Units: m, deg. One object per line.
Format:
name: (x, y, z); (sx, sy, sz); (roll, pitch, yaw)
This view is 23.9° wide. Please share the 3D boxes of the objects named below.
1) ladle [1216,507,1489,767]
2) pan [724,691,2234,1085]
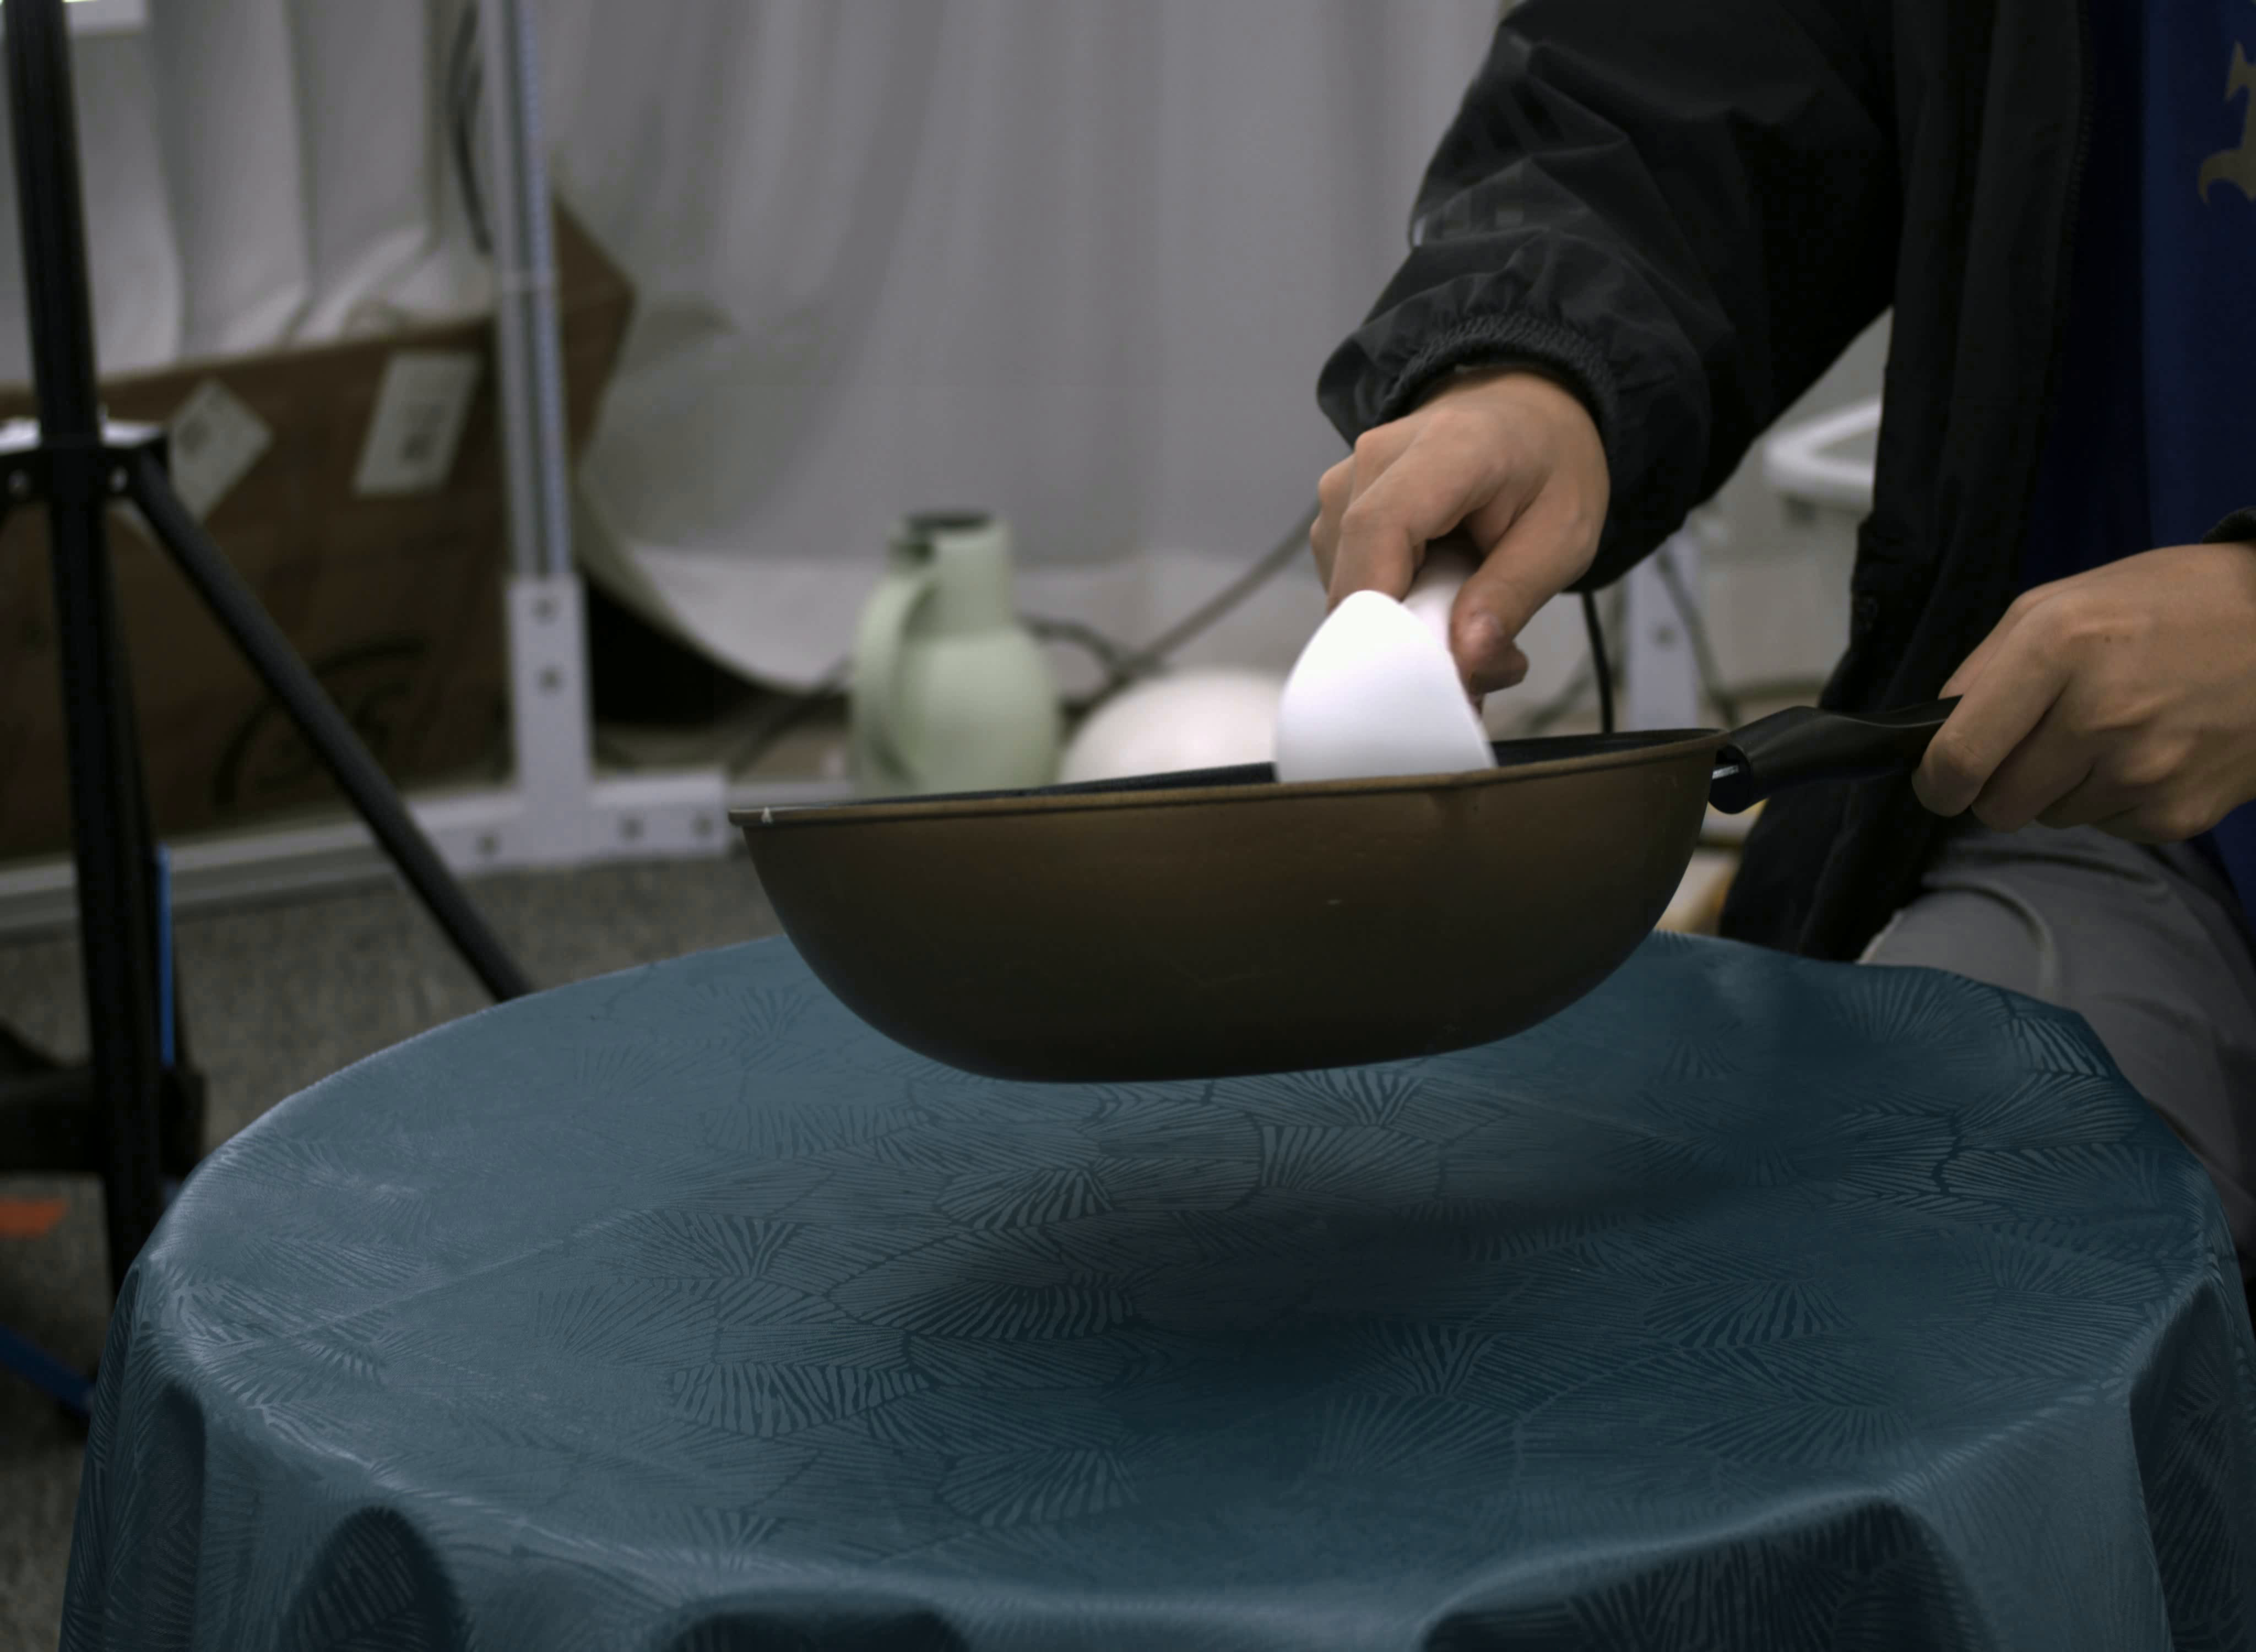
ladle: (0.080, -0.056, 1.514); (0.070, 0.090, 0.290); (-26, 2, 16)
pan: (0.113, 0.017, 1.500); (0.454, 0.087, 0.292); (-4, 2, -21)
